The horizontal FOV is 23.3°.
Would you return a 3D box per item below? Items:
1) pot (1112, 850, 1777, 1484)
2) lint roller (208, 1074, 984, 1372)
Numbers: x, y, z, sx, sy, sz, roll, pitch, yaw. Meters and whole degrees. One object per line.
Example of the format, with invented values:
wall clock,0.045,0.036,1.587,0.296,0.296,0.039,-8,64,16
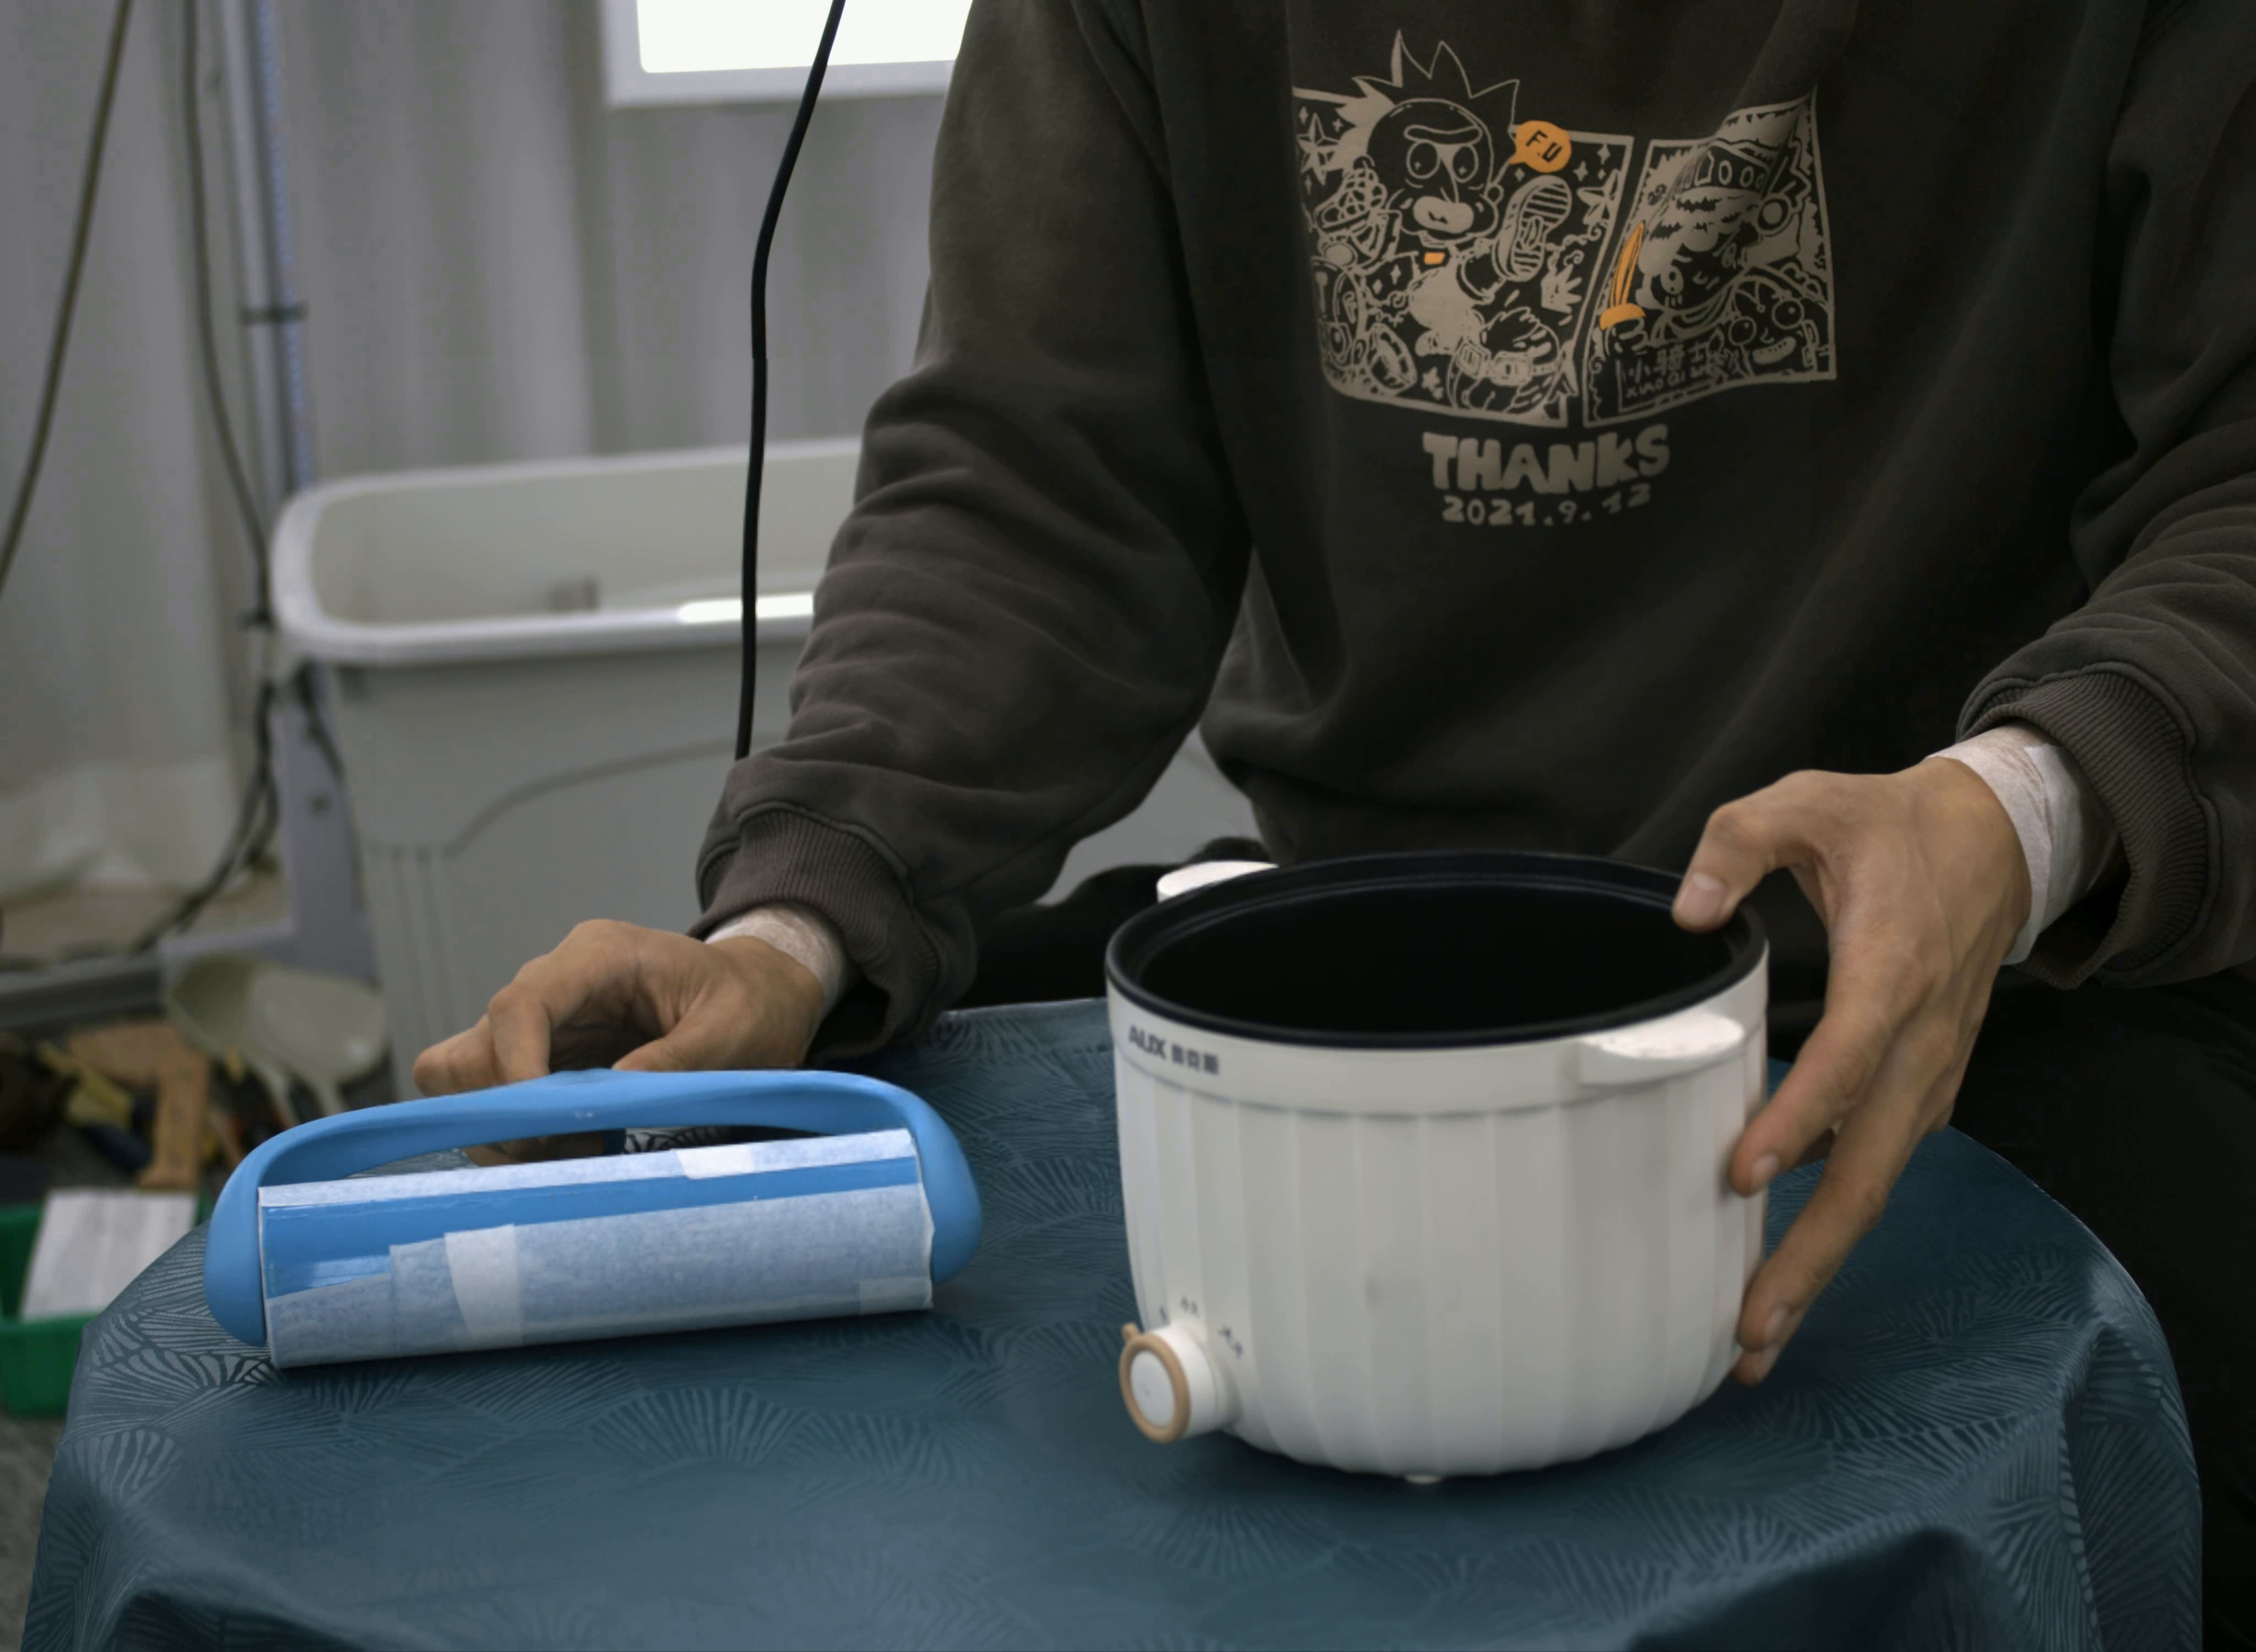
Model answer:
pot,0.085,0.096,1.509,0.189,0.142,0.242,-9,14,-34
lint roller,-0.166,0.107,1.668,0.228,0.067,0.182,-7,18,-9
